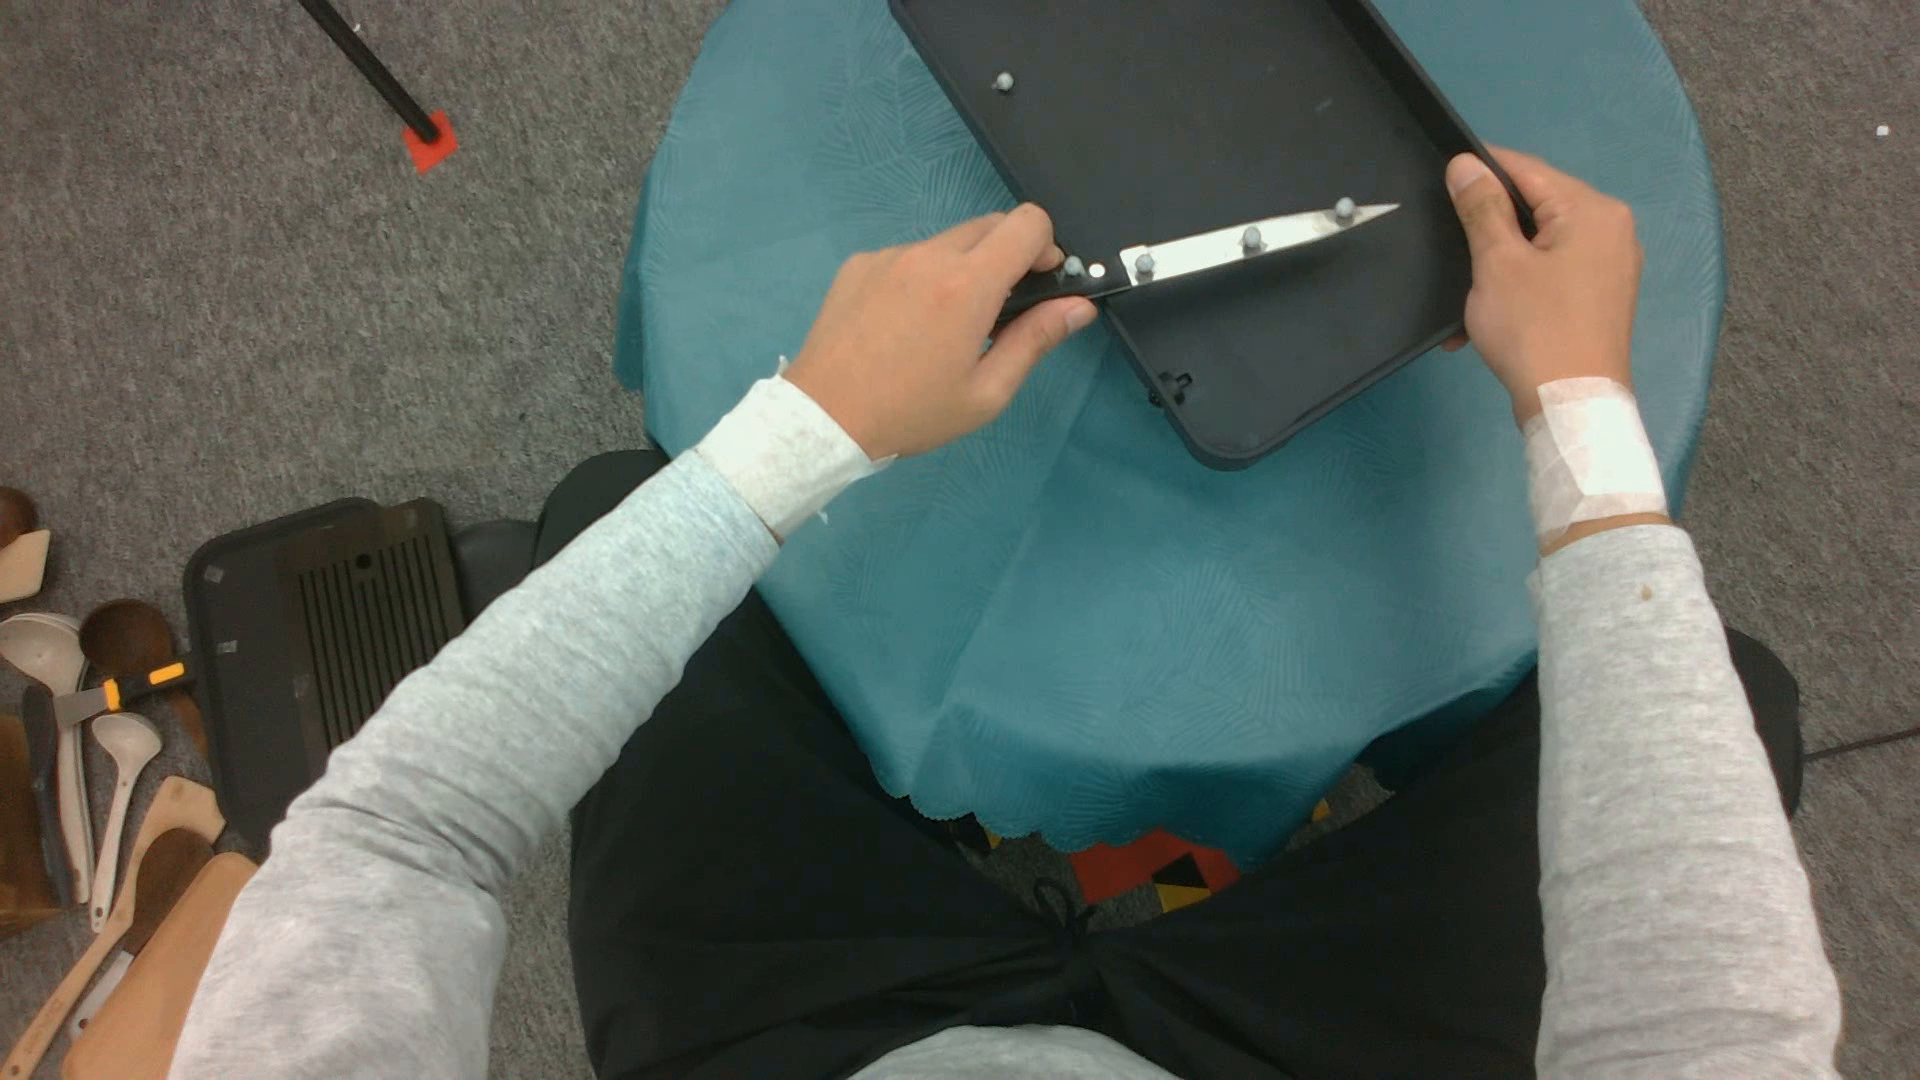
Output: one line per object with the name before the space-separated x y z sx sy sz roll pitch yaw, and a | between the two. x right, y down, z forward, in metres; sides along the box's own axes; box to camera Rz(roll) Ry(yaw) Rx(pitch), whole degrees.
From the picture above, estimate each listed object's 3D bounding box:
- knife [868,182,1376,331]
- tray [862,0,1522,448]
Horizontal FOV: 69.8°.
knife | 0.075 -0.130 0.619 0.238 0.016 0.024 -15 56 -3
tray | 0.099 -0.213 0.657 0.184 0.037 0.318 -34 80 -1
